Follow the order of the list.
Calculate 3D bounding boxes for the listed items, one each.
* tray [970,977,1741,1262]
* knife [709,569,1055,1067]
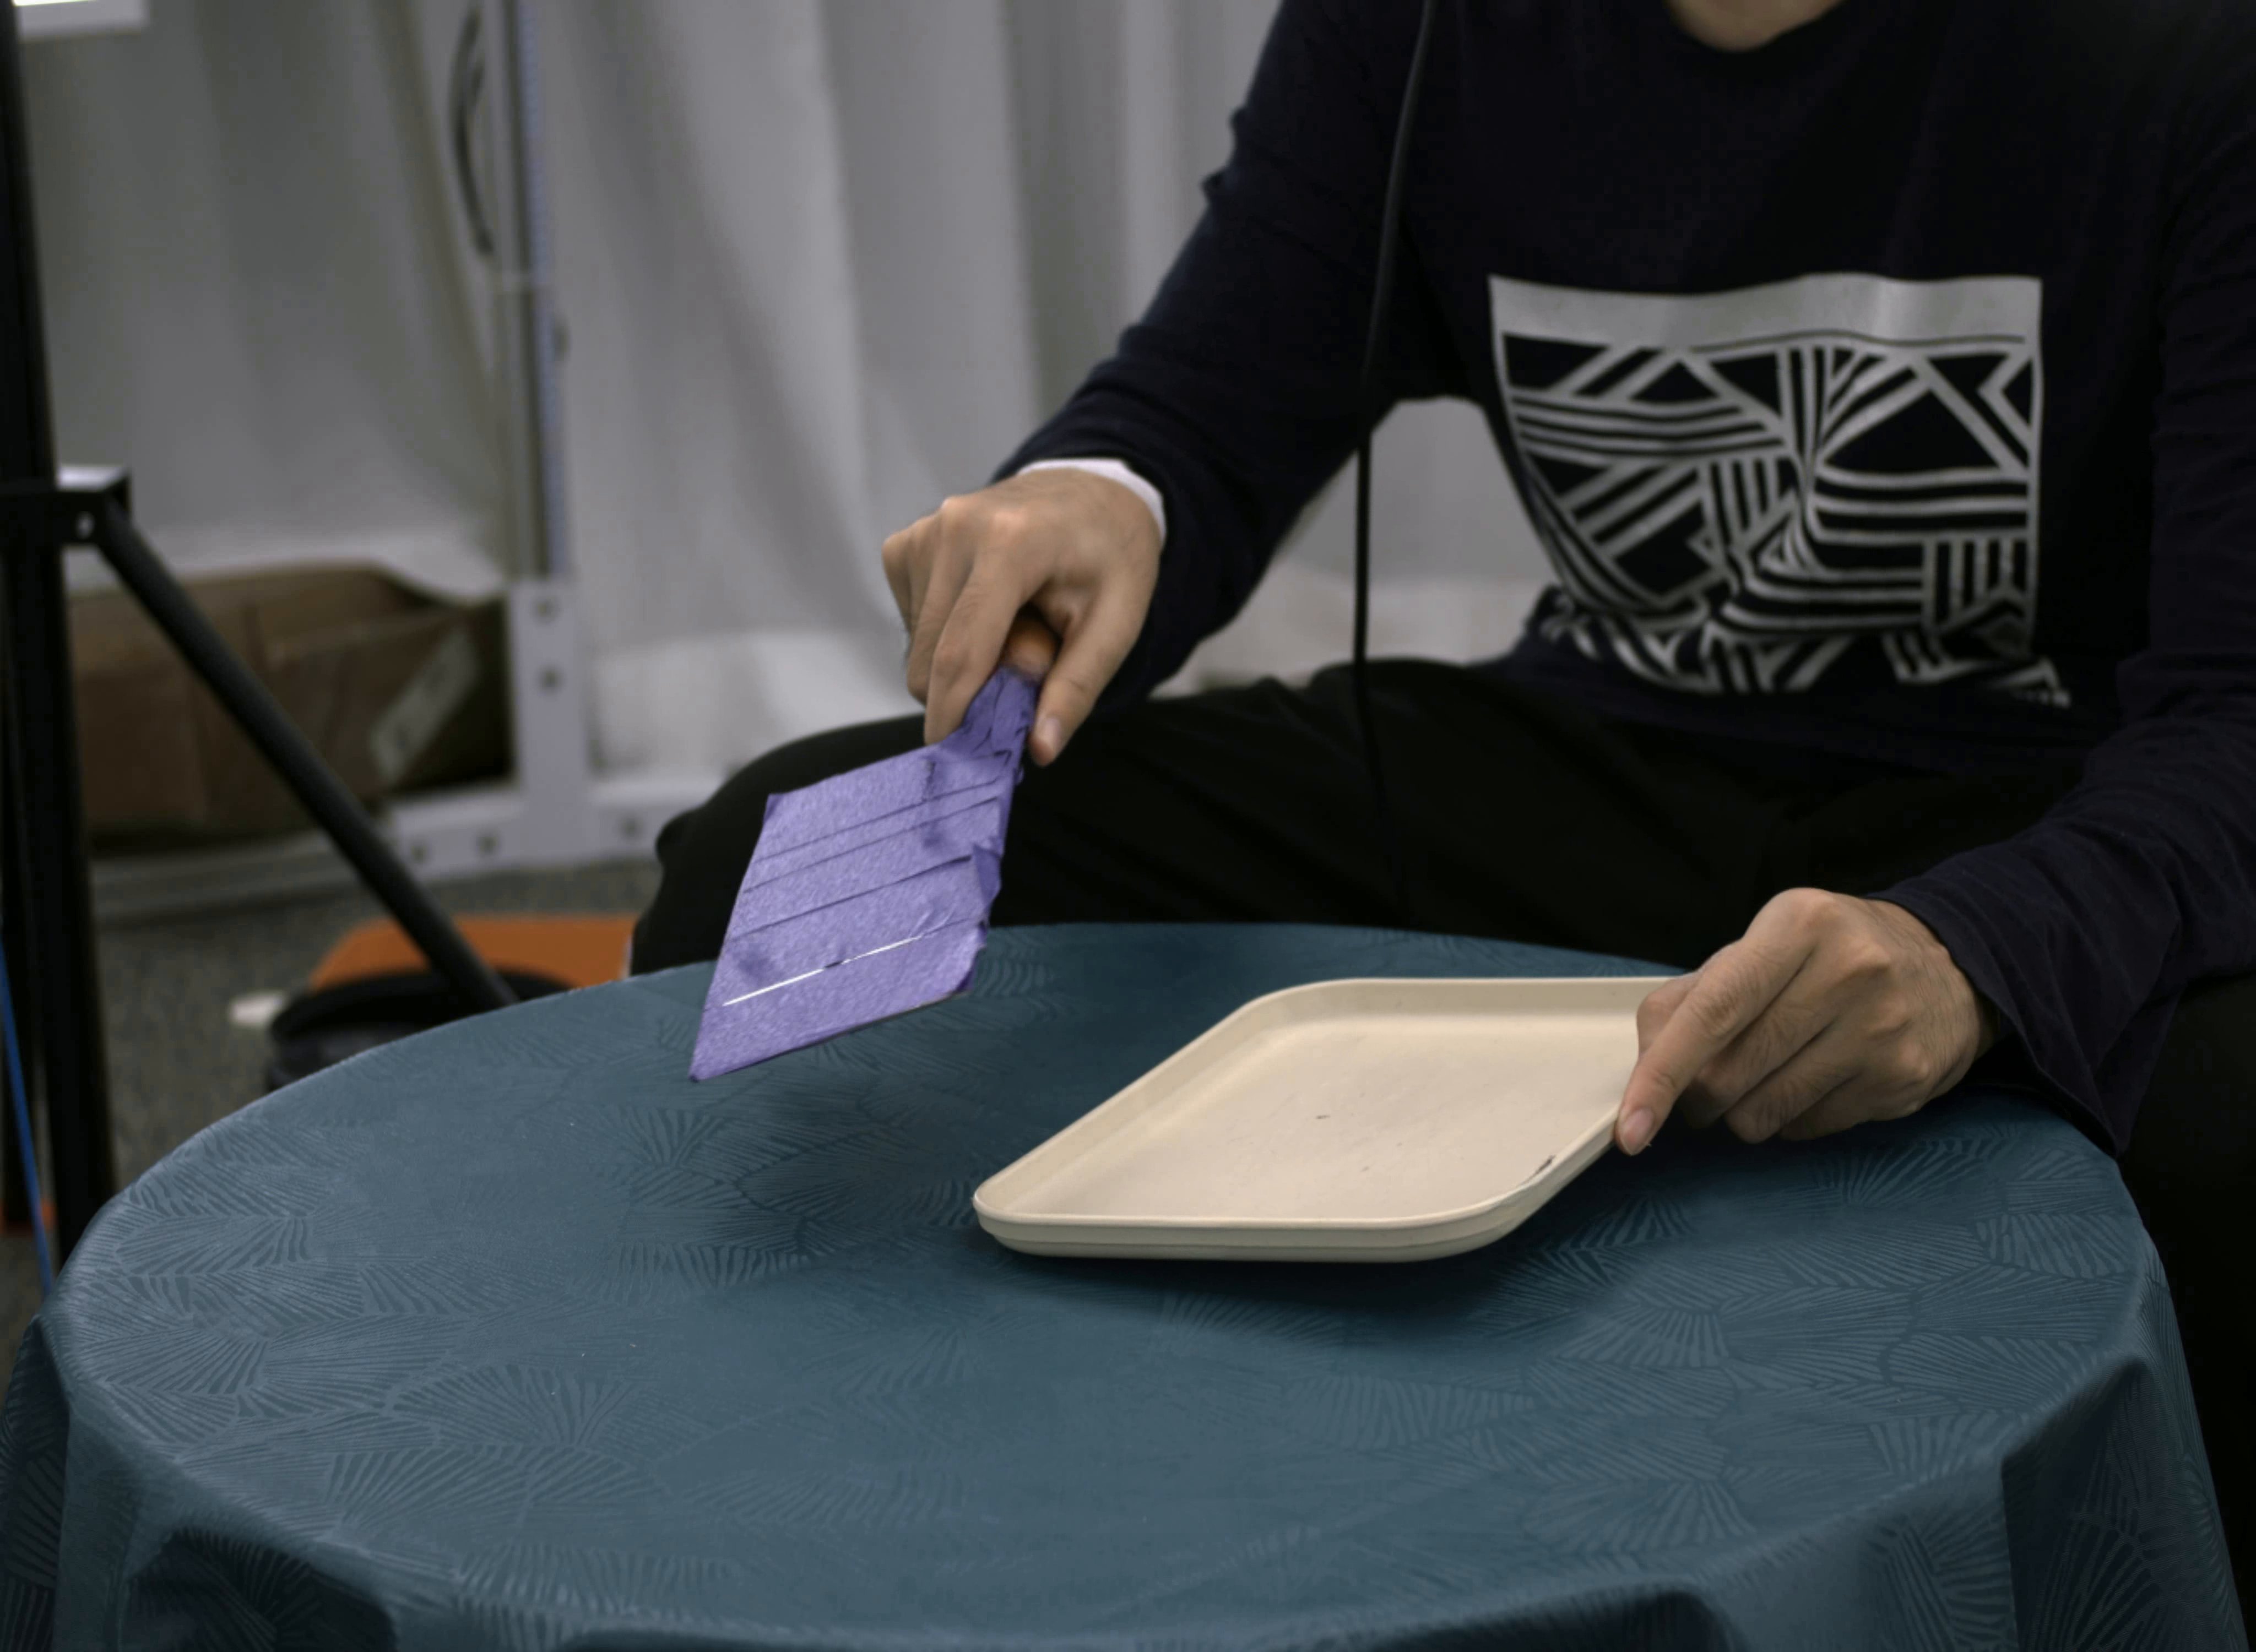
[{"bbox_3d":[0.072,0.086,1.566,0.174,0.017,0.236,-2,14,29],"label":"tray"},{"bbox_3d":[-0.075,-0.007,1.650,0.104,0.032,0.316,-18,19,10],"label":"knife"}]
